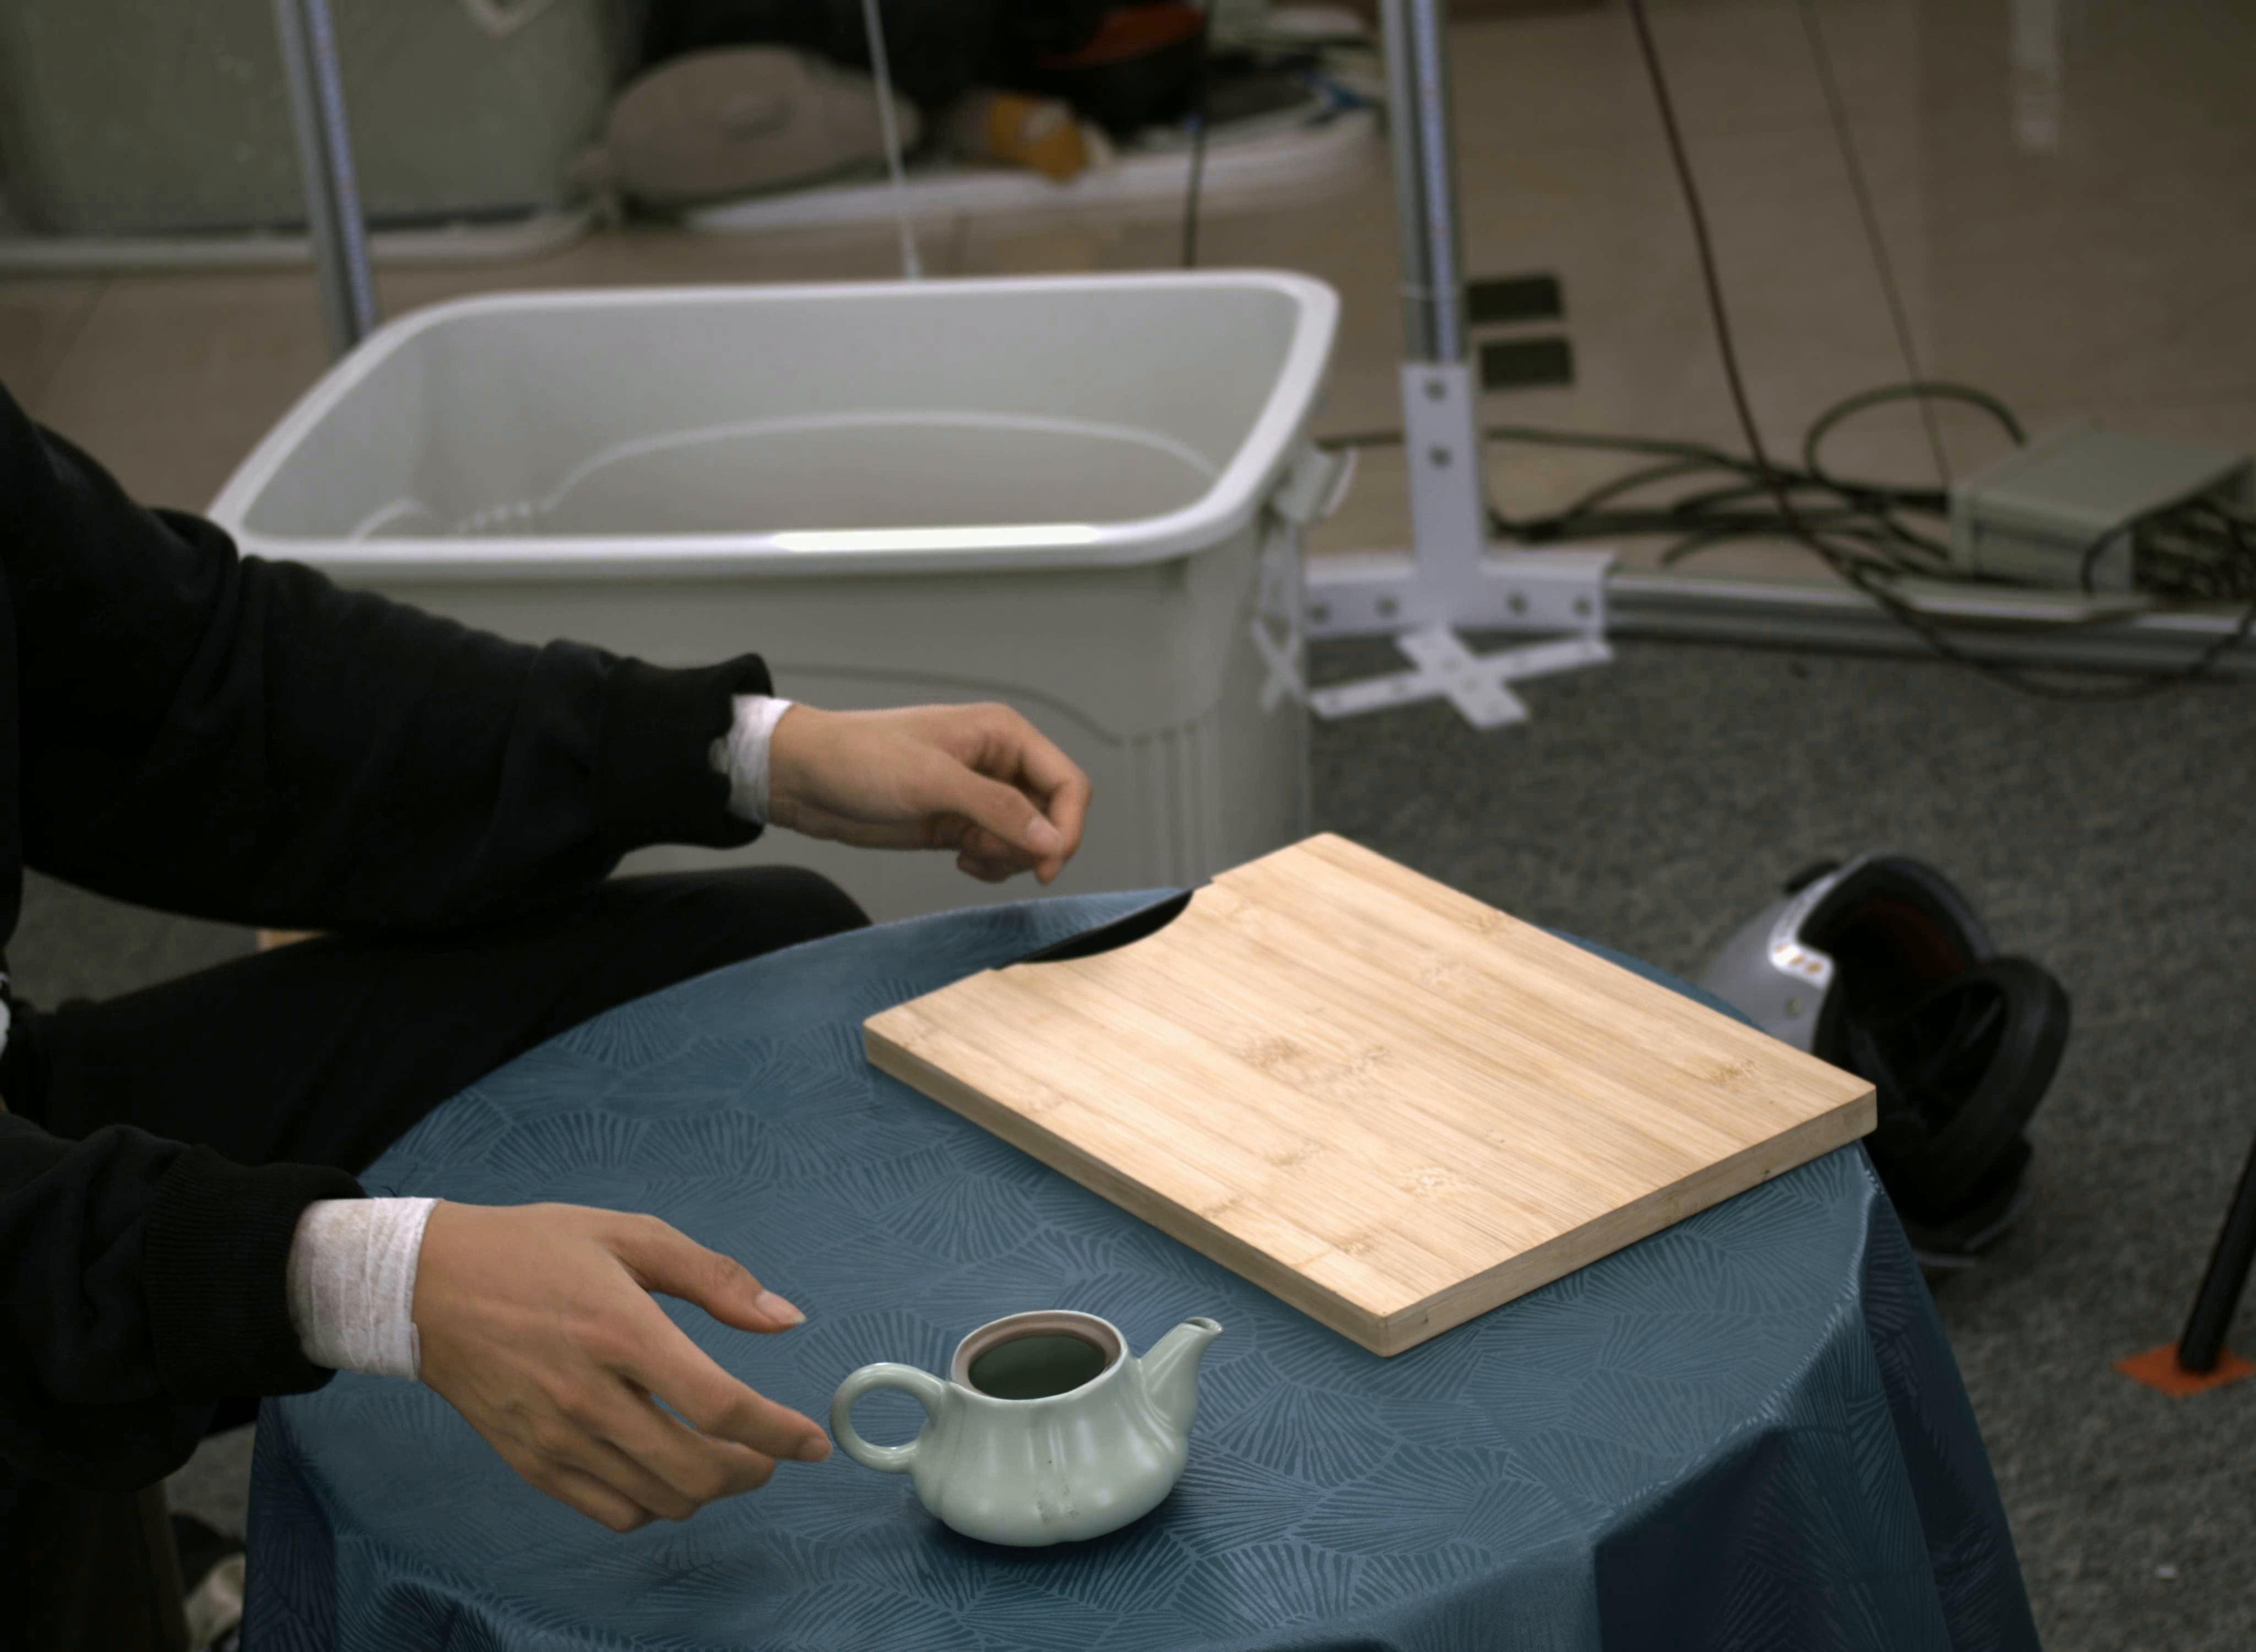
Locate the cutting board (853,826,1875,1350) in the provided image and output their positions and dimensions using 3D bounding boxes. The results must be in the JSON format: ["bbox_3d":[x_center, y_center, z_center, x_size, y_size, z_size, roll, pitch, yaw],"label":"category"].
[{"bbox_3d":[0.085,0.095,2.204,0.249,0.024,0.345,-22,29,-31],"label":"cutting board"}]

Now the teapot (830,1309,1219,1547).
[{"bbox_3d":[-0.033,0.205,1.945,0.136,0.062,0.095,-9,26,-6],"label":"teapot"}]
